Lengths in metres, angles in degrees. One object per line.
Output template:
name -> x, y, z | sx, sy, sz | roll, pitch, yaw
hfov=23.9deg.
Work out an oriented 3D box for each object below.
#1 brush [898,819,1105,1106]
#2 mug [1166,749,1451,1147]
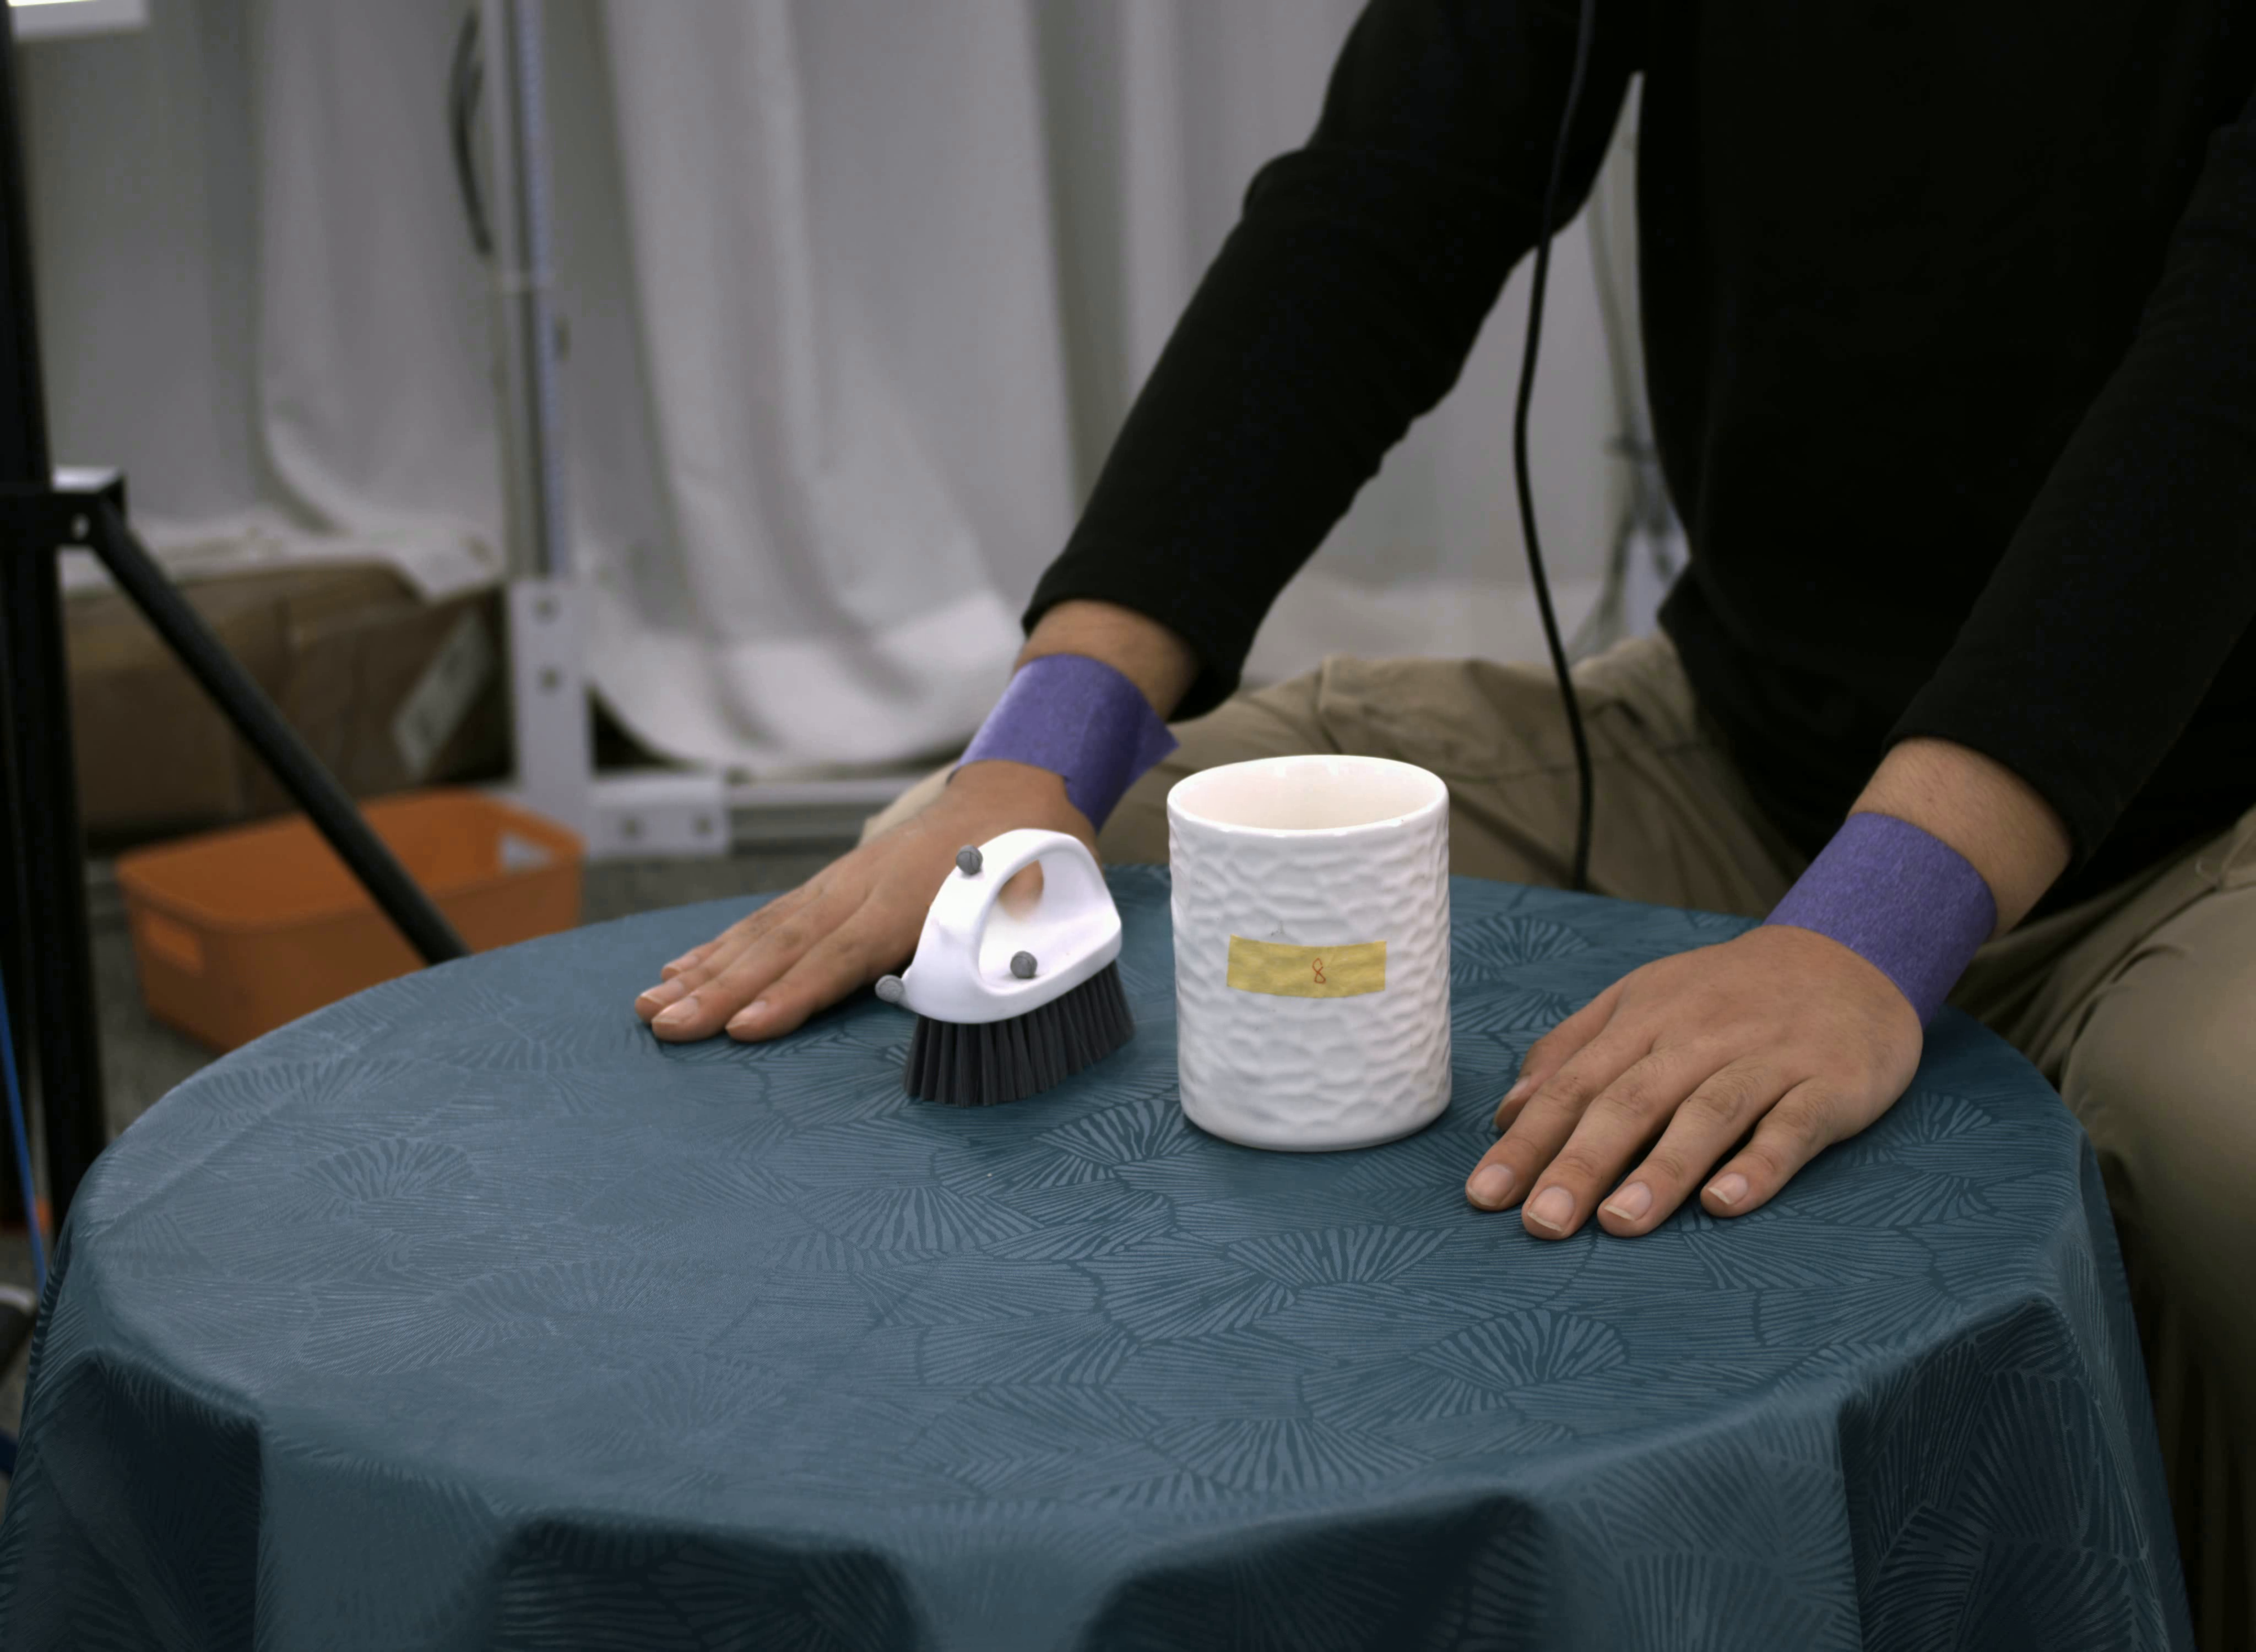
brush -> -0.039, 0.037, 1.680 | 0.051, 0.072, 0.098 | 8, 22, 19
mug -> 0.062, 0.033, 1.622 | 0.086, 0.102, 0.116 | 5, 17, 26
